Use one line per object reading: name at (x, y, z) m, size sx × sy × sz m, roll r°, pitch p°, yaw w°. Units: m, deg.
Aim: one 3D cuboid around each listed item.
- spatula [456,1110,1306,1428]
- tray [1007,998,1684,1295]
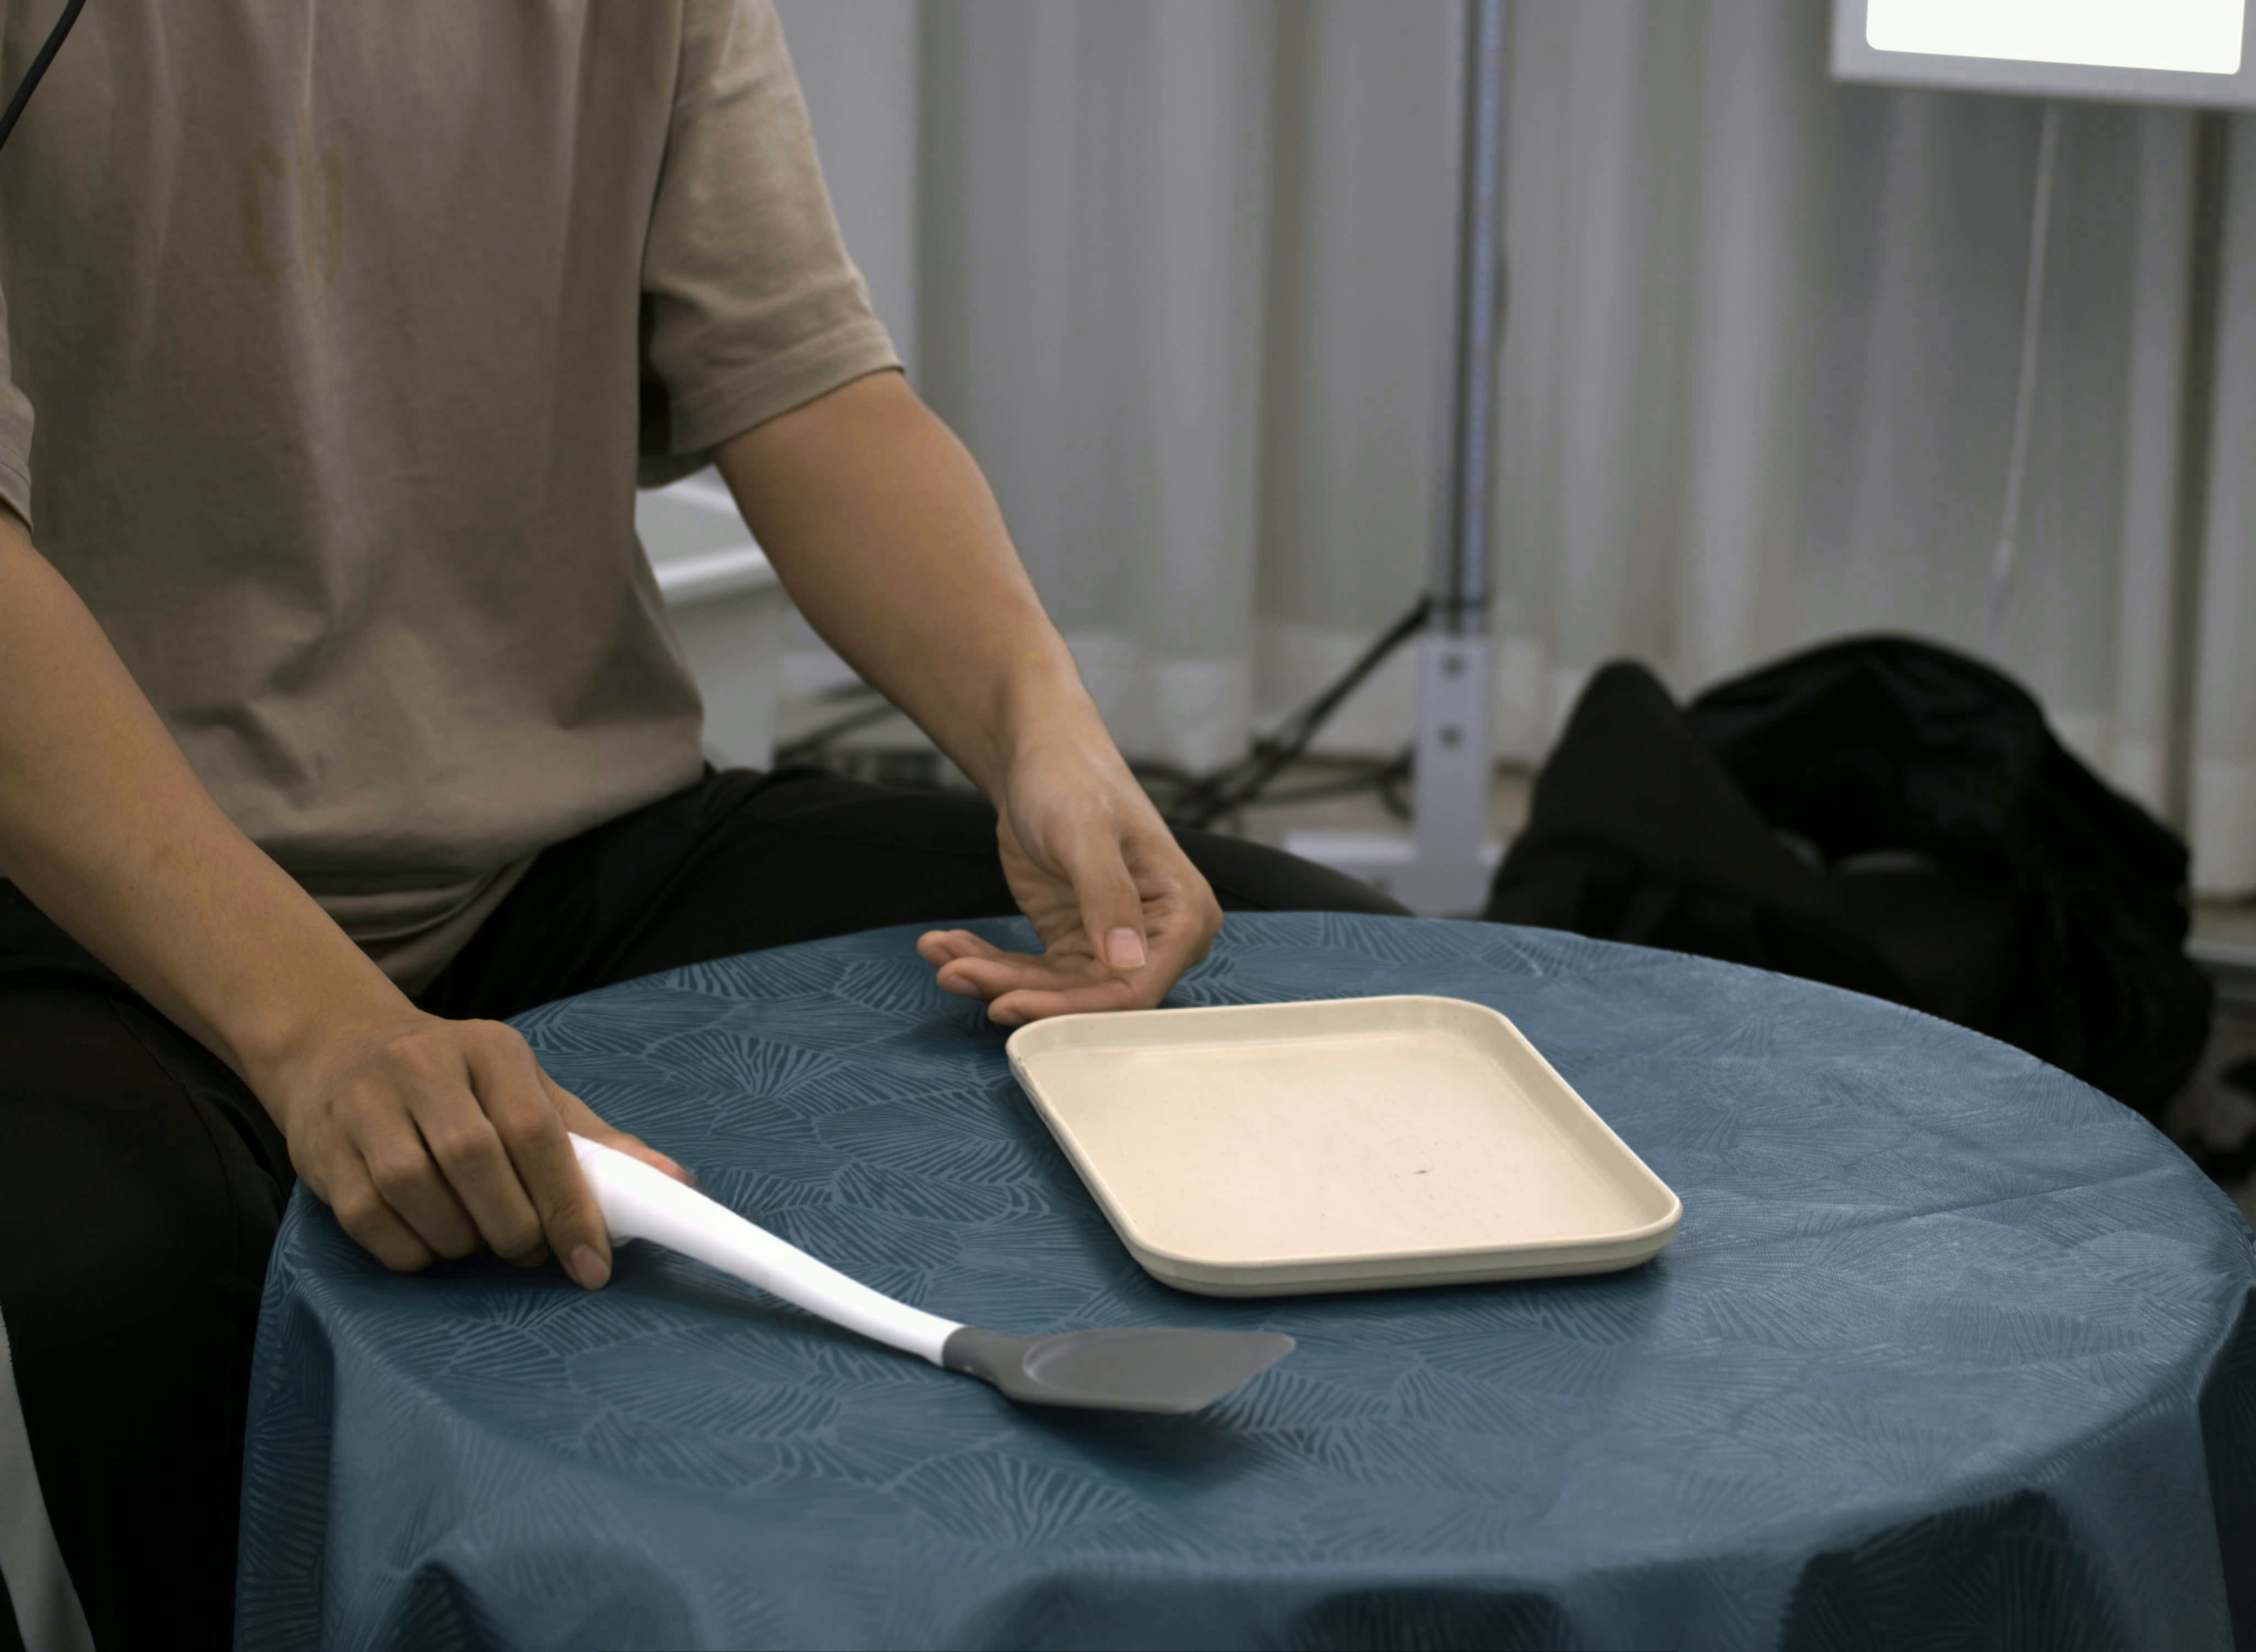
spatula at (-0.076, 0.129, 1.493) m, size 0.284 × 0.032 × 0.059 m, roll 15°, pitch 23°, yaw 34°
tray at (0.063, 0.099, 1.645) m, size 0.171 × 0.017 × 0.237 m, roll -2°, pitch 16°, yaw -13°
